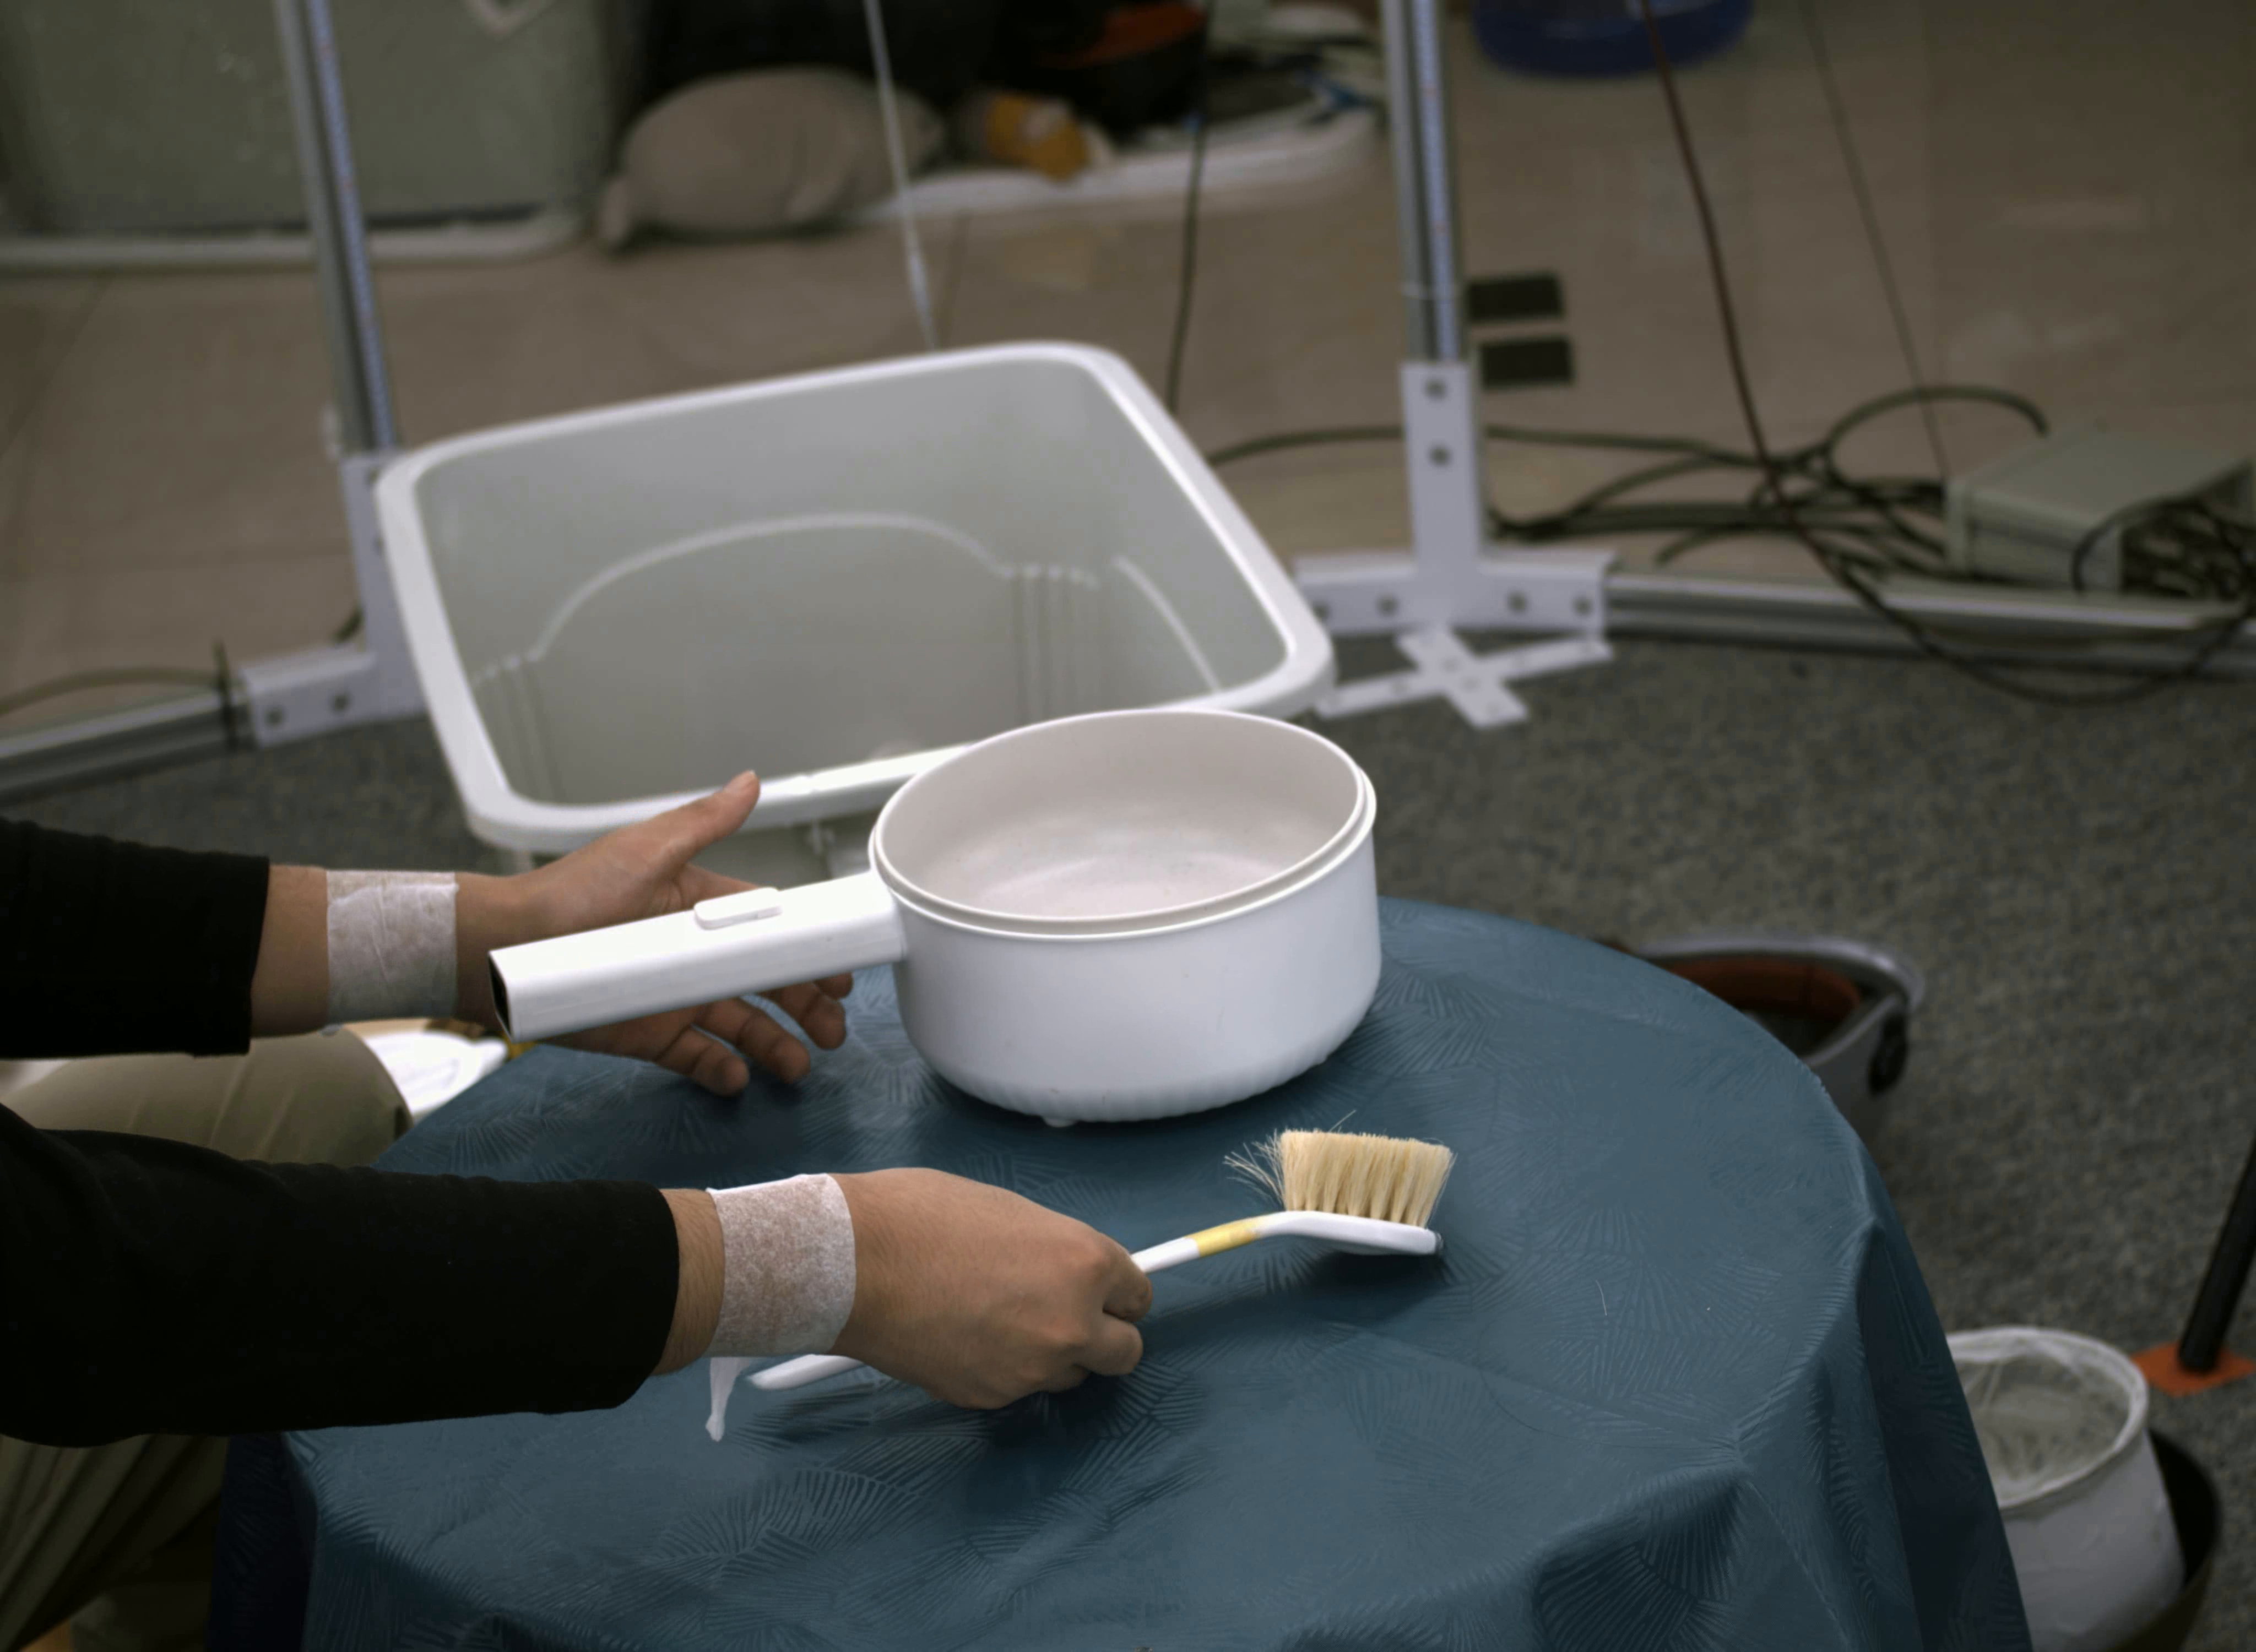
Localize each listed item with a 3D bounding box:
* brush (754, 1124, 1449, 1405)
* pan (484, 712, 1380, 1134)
[{"bbox_3d":[-0.010,0.152,2.037,0.266,0.056,0.069,-12,-6,-11],"label":"brush"},{"bbox_3d":[-0.071,0.059,2.224,0.354,0.104,0.198,-14,27,-13],"label":"pan"}]
